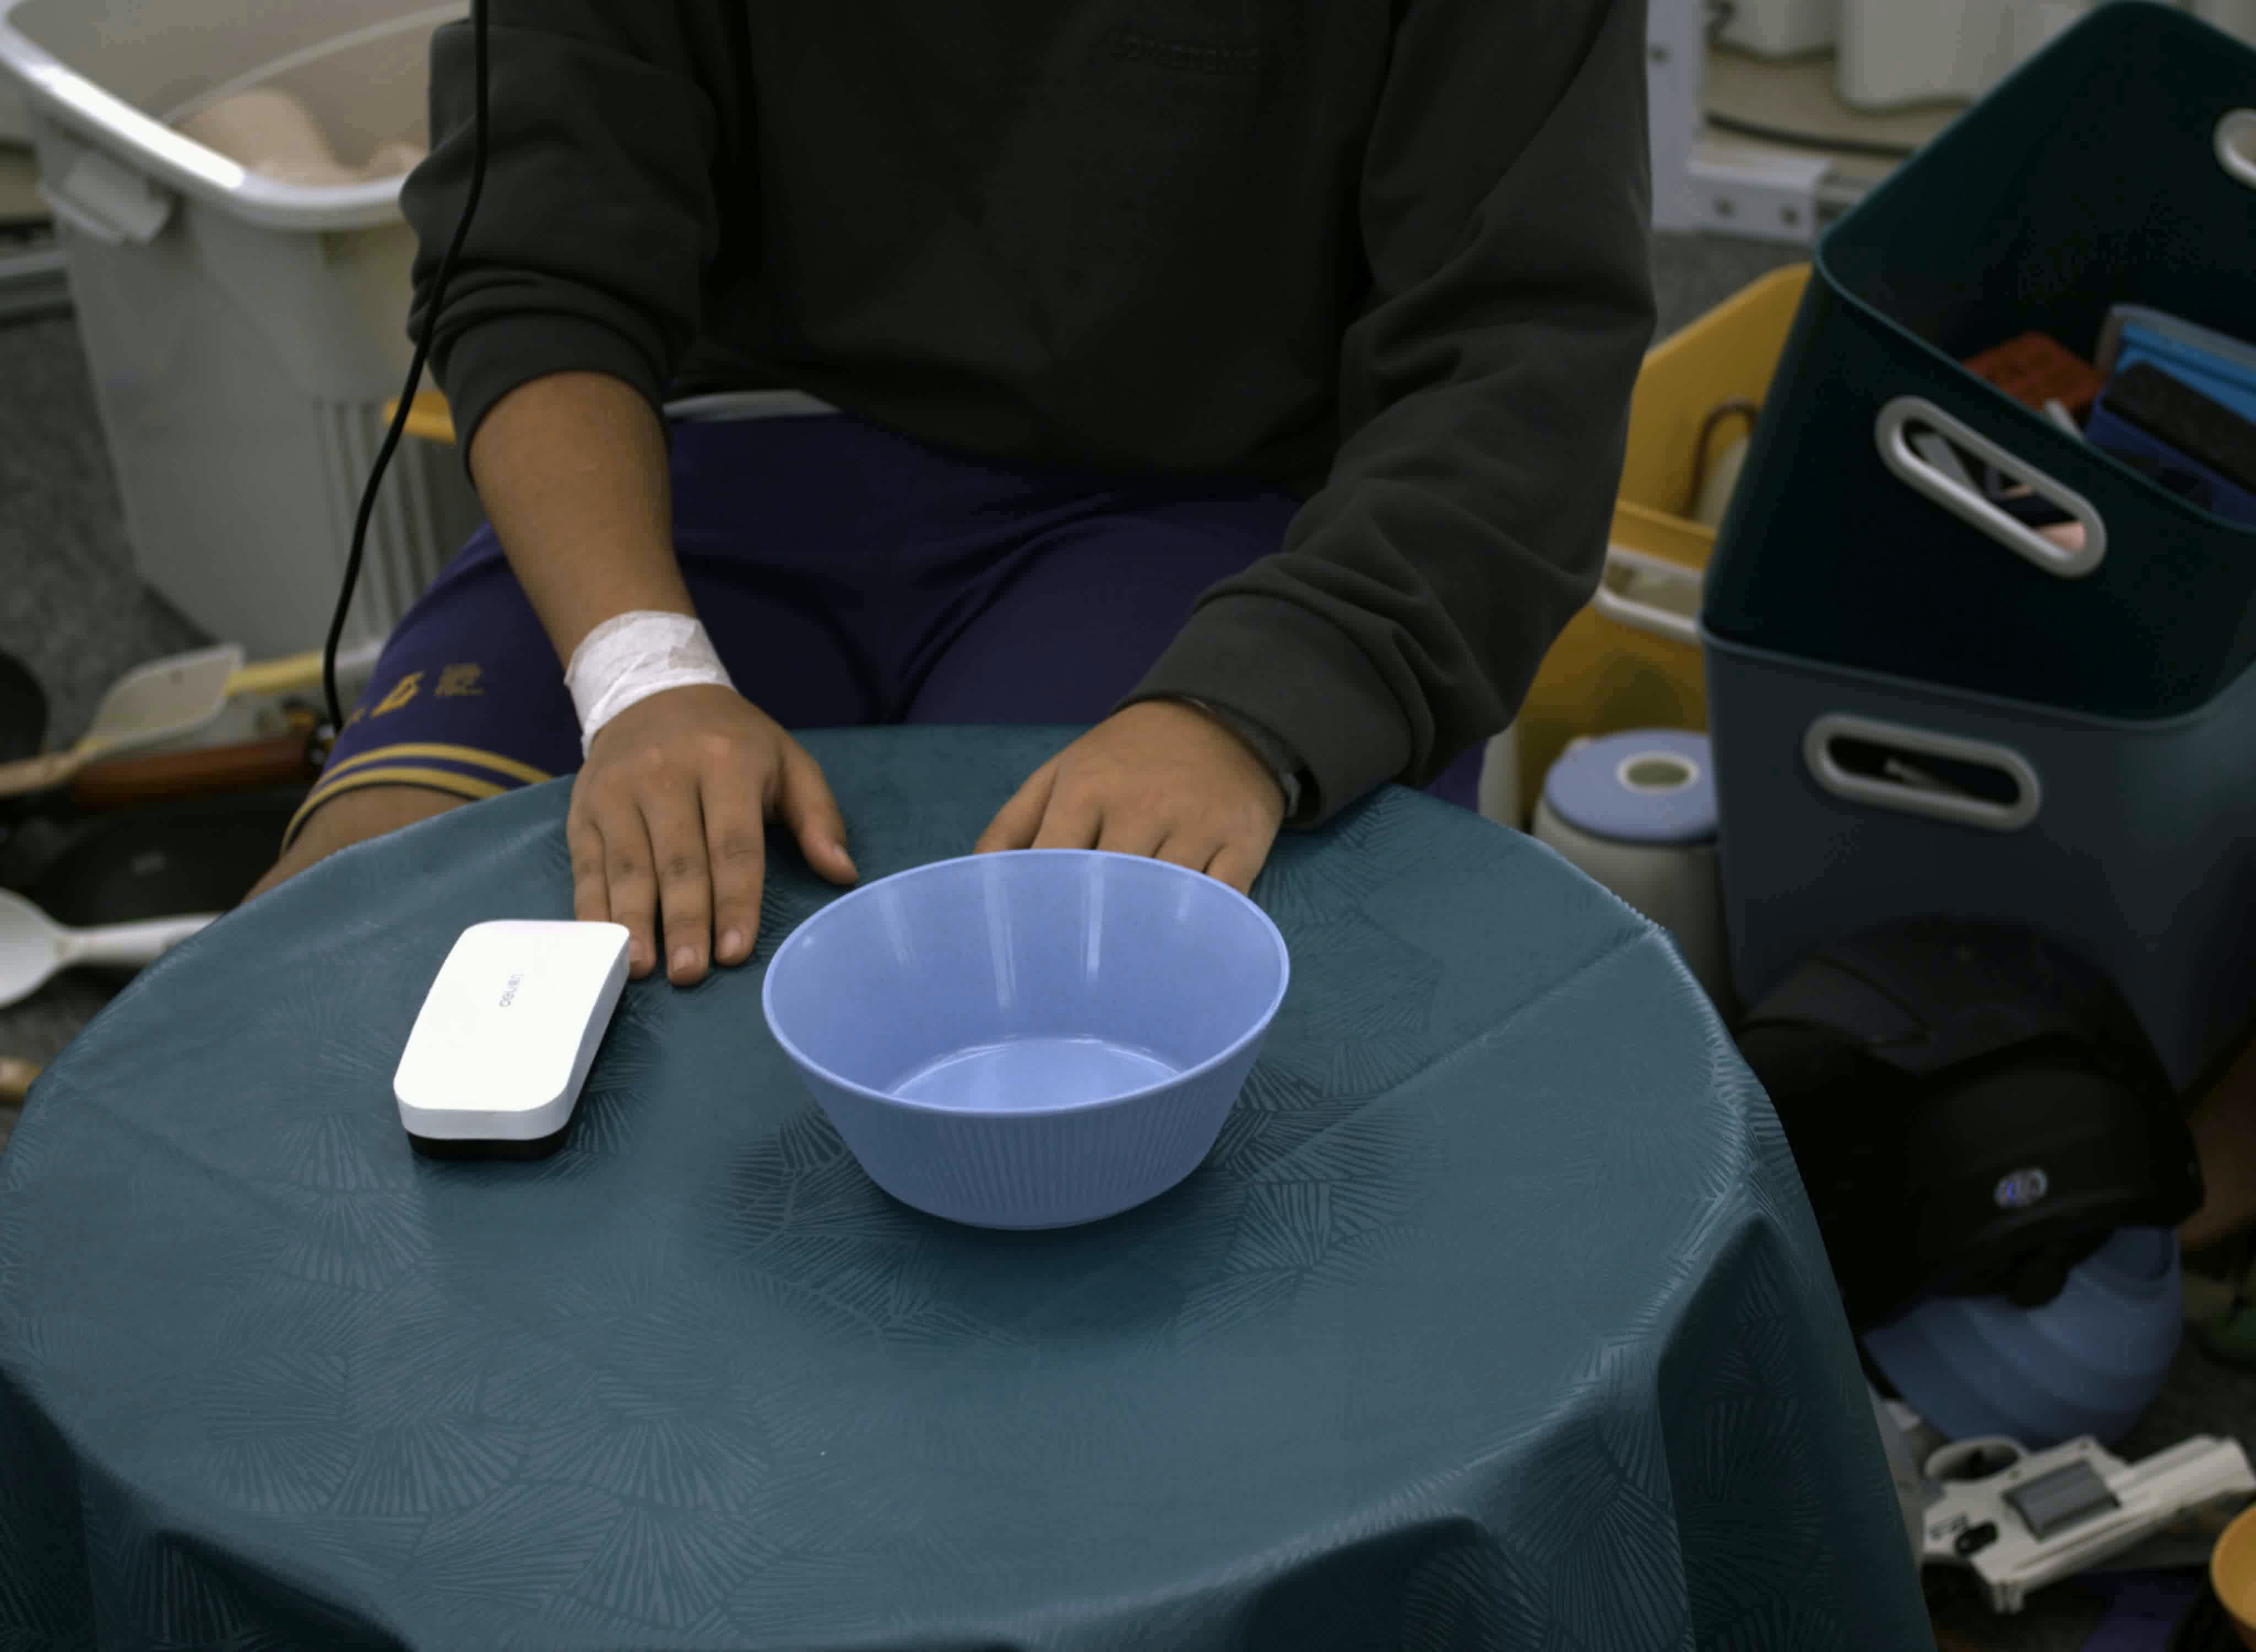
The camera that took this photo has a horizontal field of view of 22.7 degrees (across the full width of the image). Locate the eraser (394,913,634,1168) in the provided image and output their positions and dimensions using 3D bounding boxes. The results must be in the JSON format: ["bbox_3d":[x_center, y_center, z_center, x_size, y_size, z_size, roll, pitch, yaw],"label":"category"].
[{"bbox_3d":[-0.210,0.071,1.946,0.063,0.034,0.133,3,30,8],"label":"eraser"}]

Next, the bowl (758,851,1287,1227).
[{"bbox_3d":[-0.034,0.077,1.875,0.175,0.069,0.179,-1,28,1],"label":"bowl"}]
